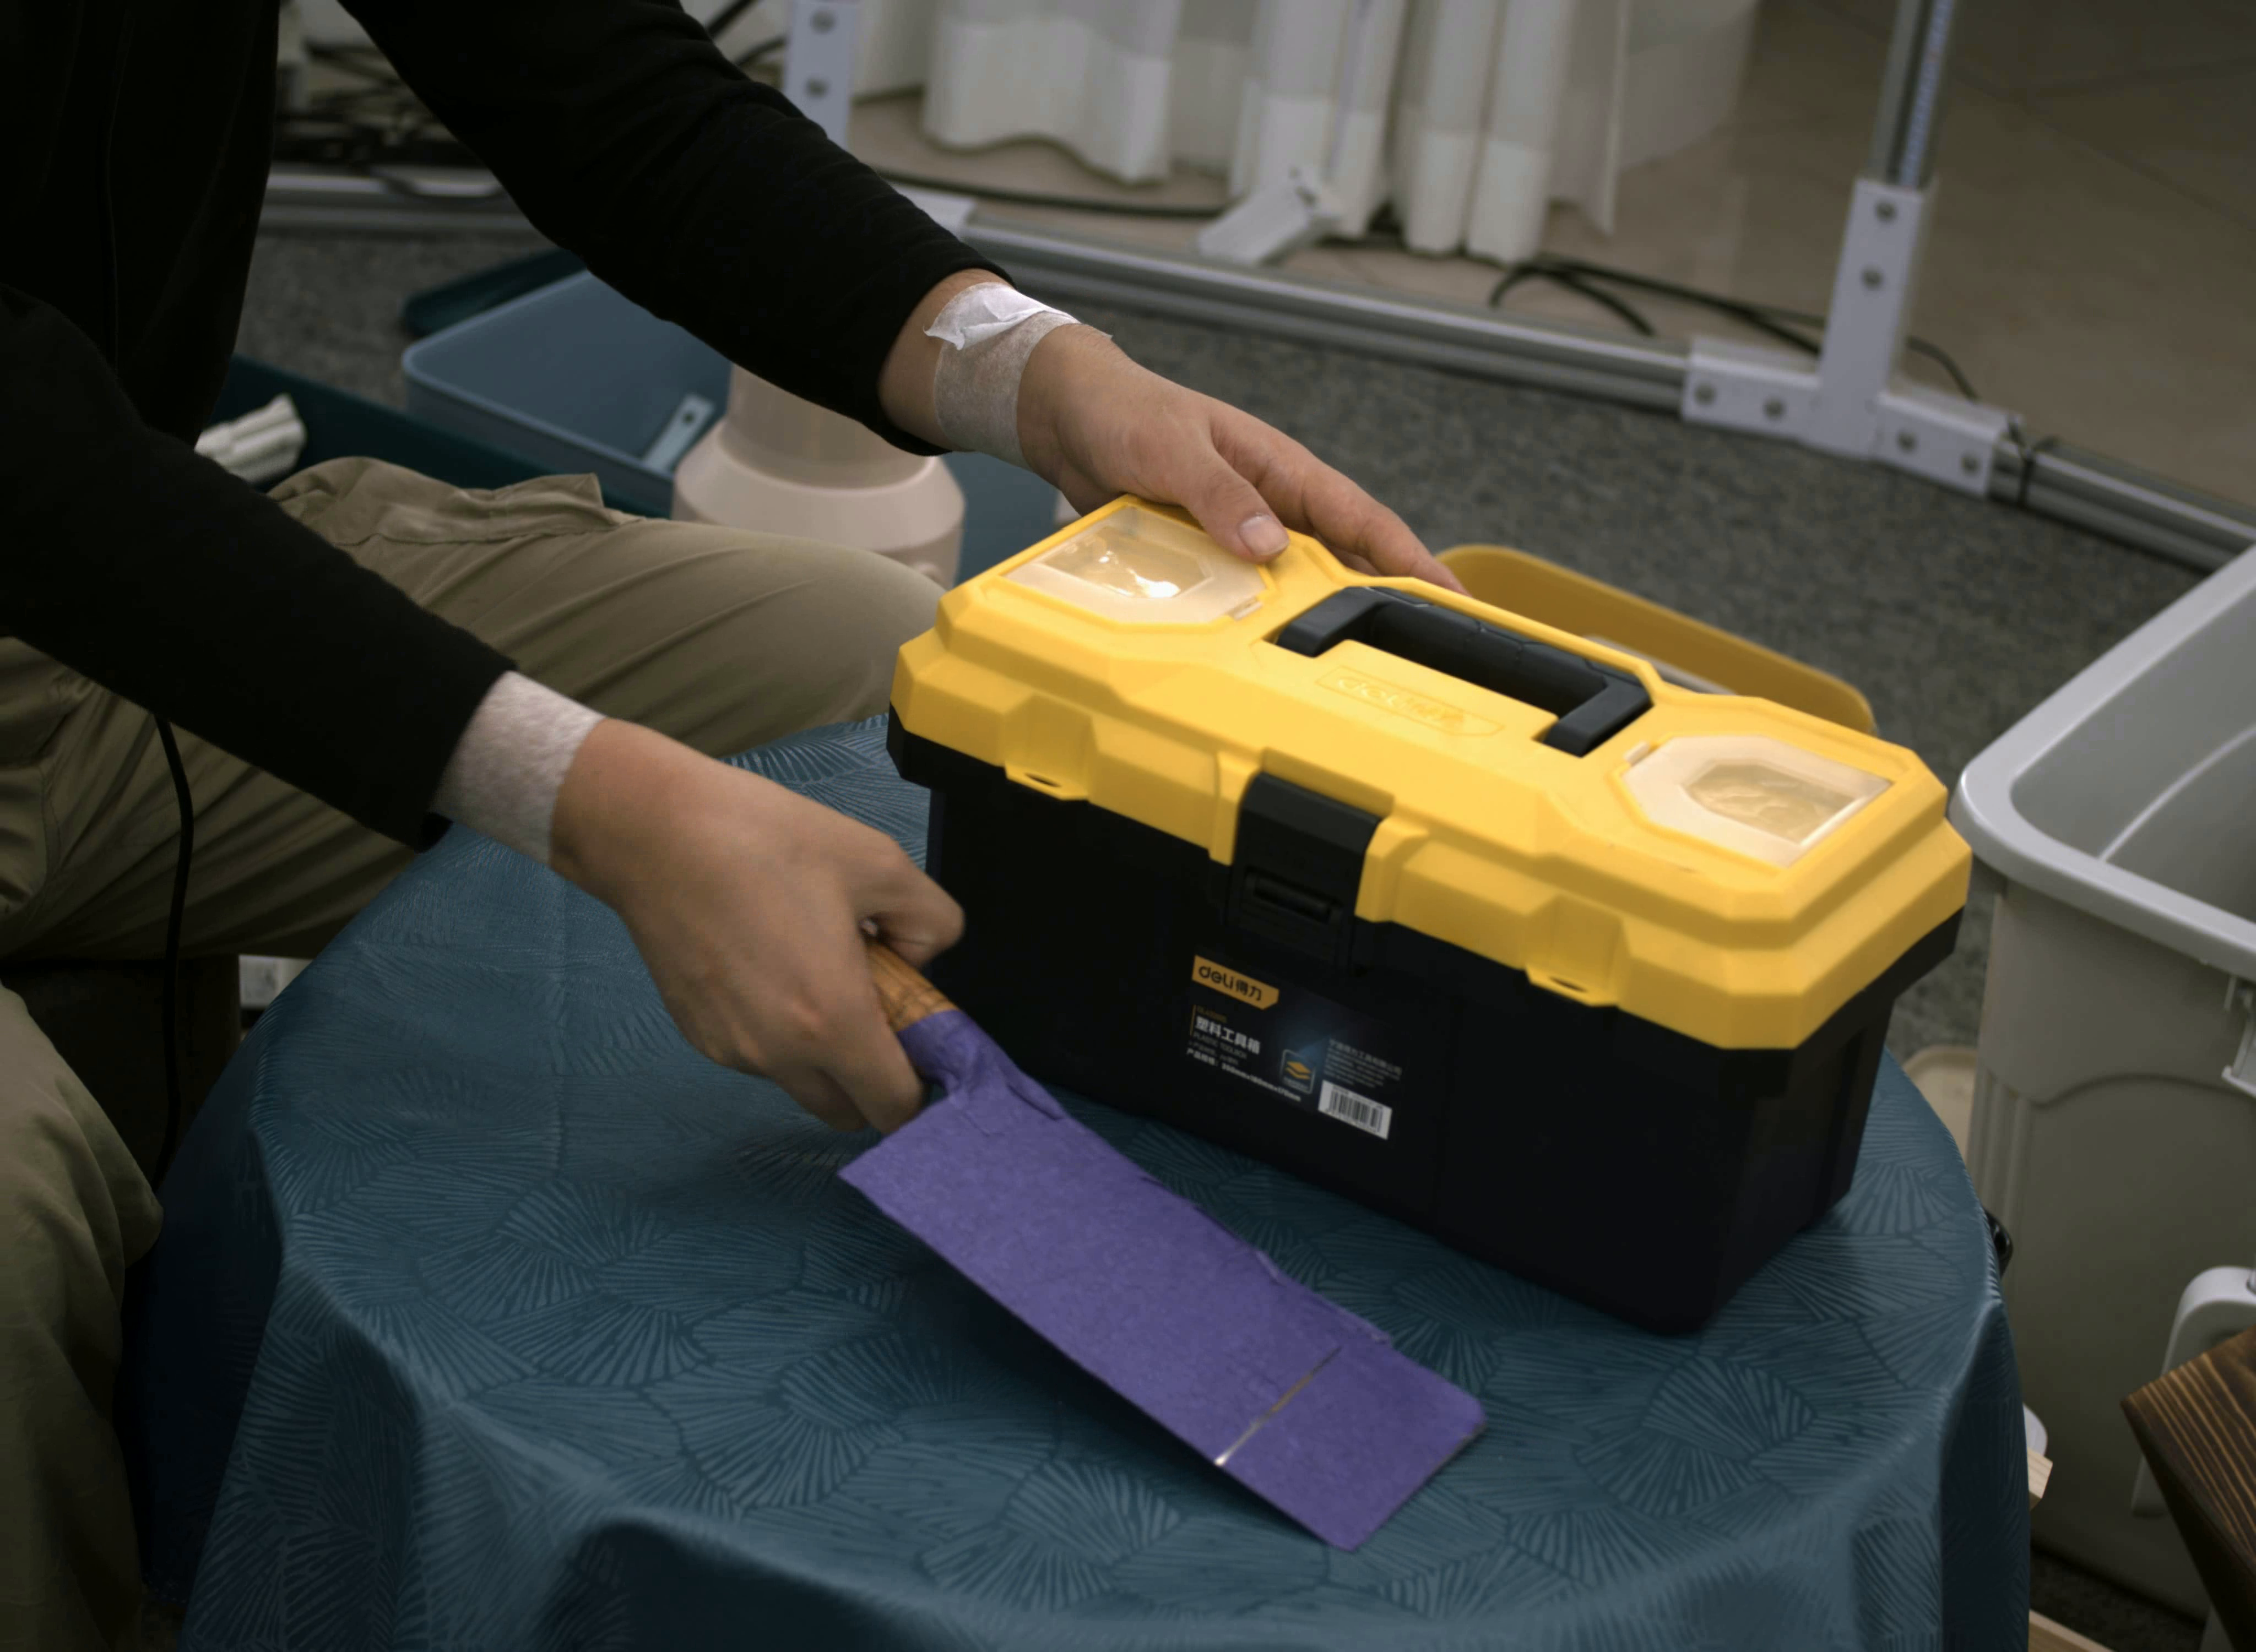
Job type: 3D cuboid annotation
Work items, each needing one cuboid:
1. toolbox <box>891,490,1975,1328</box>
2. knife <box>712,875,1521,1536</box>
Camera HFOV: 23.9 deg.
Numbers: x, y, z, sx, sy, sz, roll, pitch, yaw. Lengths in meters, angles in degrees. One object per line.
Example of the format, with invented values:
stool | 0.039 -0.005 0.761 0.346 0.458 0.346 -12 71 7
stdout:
toolbox | 0.095 0.025 1.827 0.353 0.172 0.181 21 29 27
knife | -0.023 0.119 1.705 0.317 0.032 0.103 33 36 20
